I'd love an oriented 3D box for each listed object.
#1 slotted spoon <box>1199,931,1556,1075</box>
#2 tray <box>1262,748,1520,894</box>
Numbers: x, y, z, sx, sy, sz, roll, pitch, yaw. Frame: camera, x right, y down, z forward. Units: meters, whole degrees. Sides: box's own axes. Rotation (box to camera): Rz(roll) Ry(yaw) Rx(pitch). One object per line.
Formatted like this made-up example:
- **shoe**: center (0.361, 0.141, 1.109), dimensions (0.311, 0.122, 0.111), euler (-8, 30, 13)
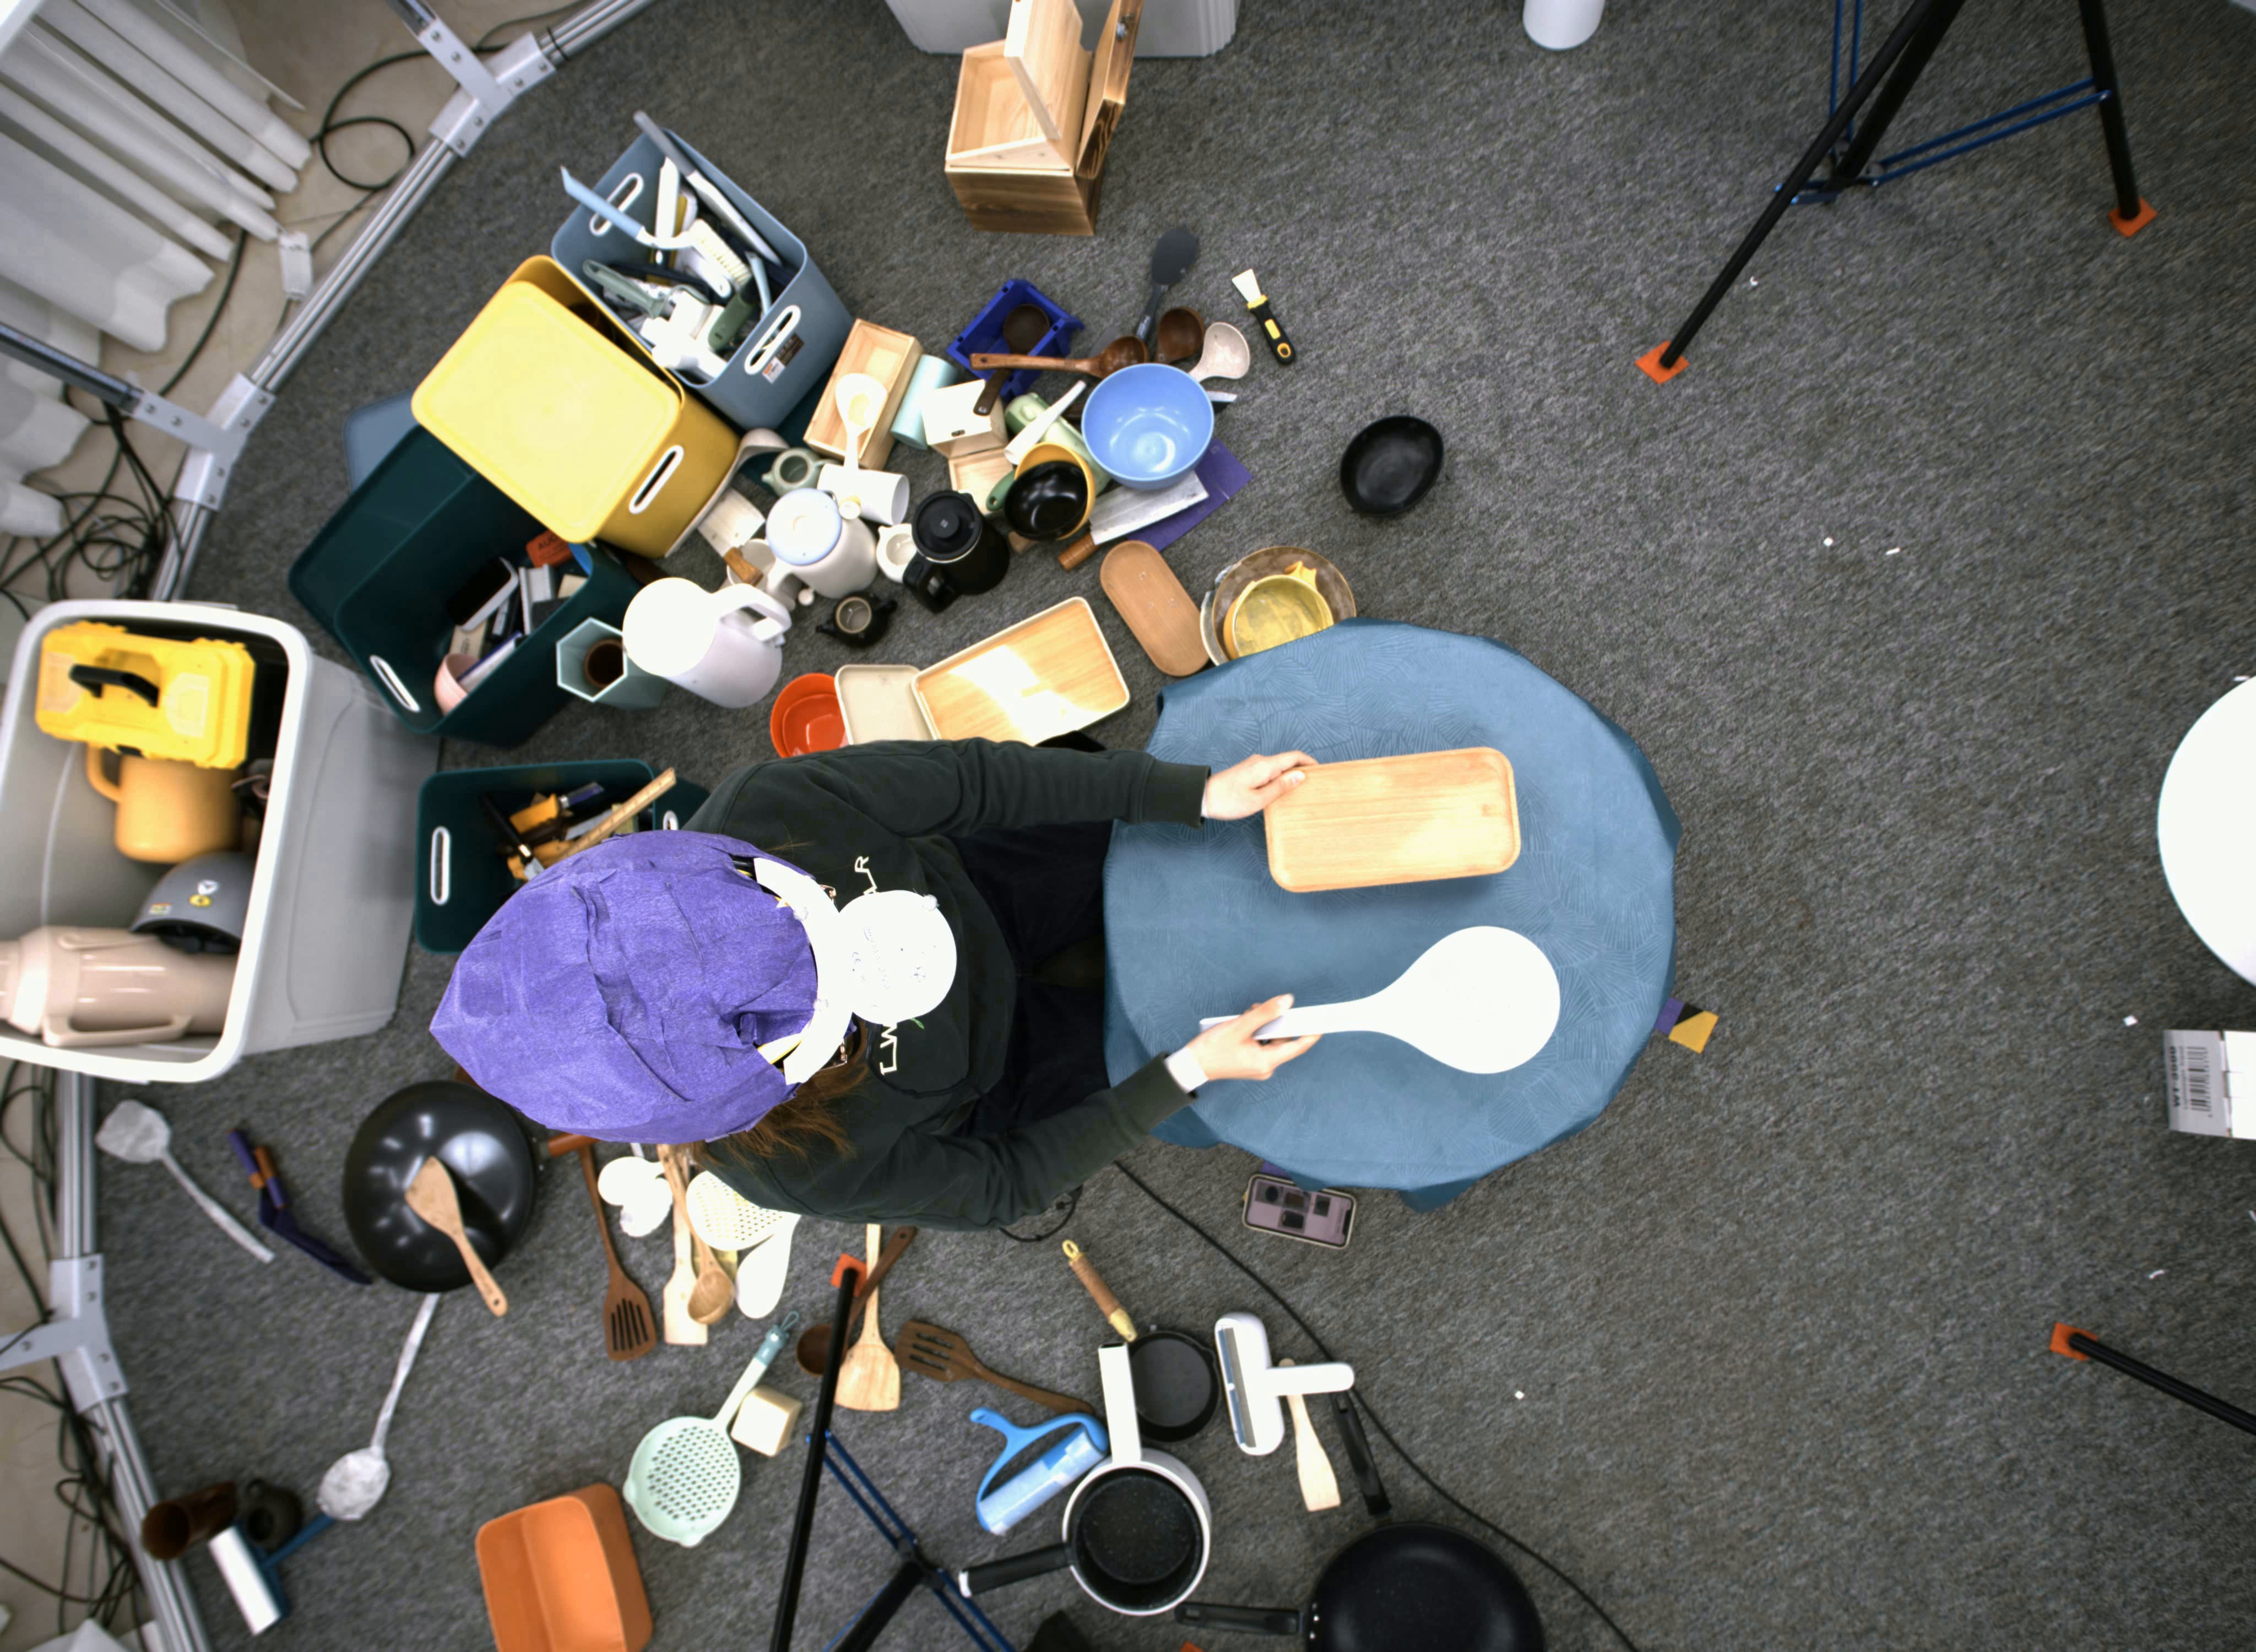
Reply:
- **slotted spoon**: center (0.236, 0.184, 1.343), dimensions (0.352, 0.046, 0.134), euler (-9, 75, 17)
- **tray**: center (0.264, -0.005, 1.389), dimensions (0.252, 0.023, 0.130), euler (-6, 88, 10)
